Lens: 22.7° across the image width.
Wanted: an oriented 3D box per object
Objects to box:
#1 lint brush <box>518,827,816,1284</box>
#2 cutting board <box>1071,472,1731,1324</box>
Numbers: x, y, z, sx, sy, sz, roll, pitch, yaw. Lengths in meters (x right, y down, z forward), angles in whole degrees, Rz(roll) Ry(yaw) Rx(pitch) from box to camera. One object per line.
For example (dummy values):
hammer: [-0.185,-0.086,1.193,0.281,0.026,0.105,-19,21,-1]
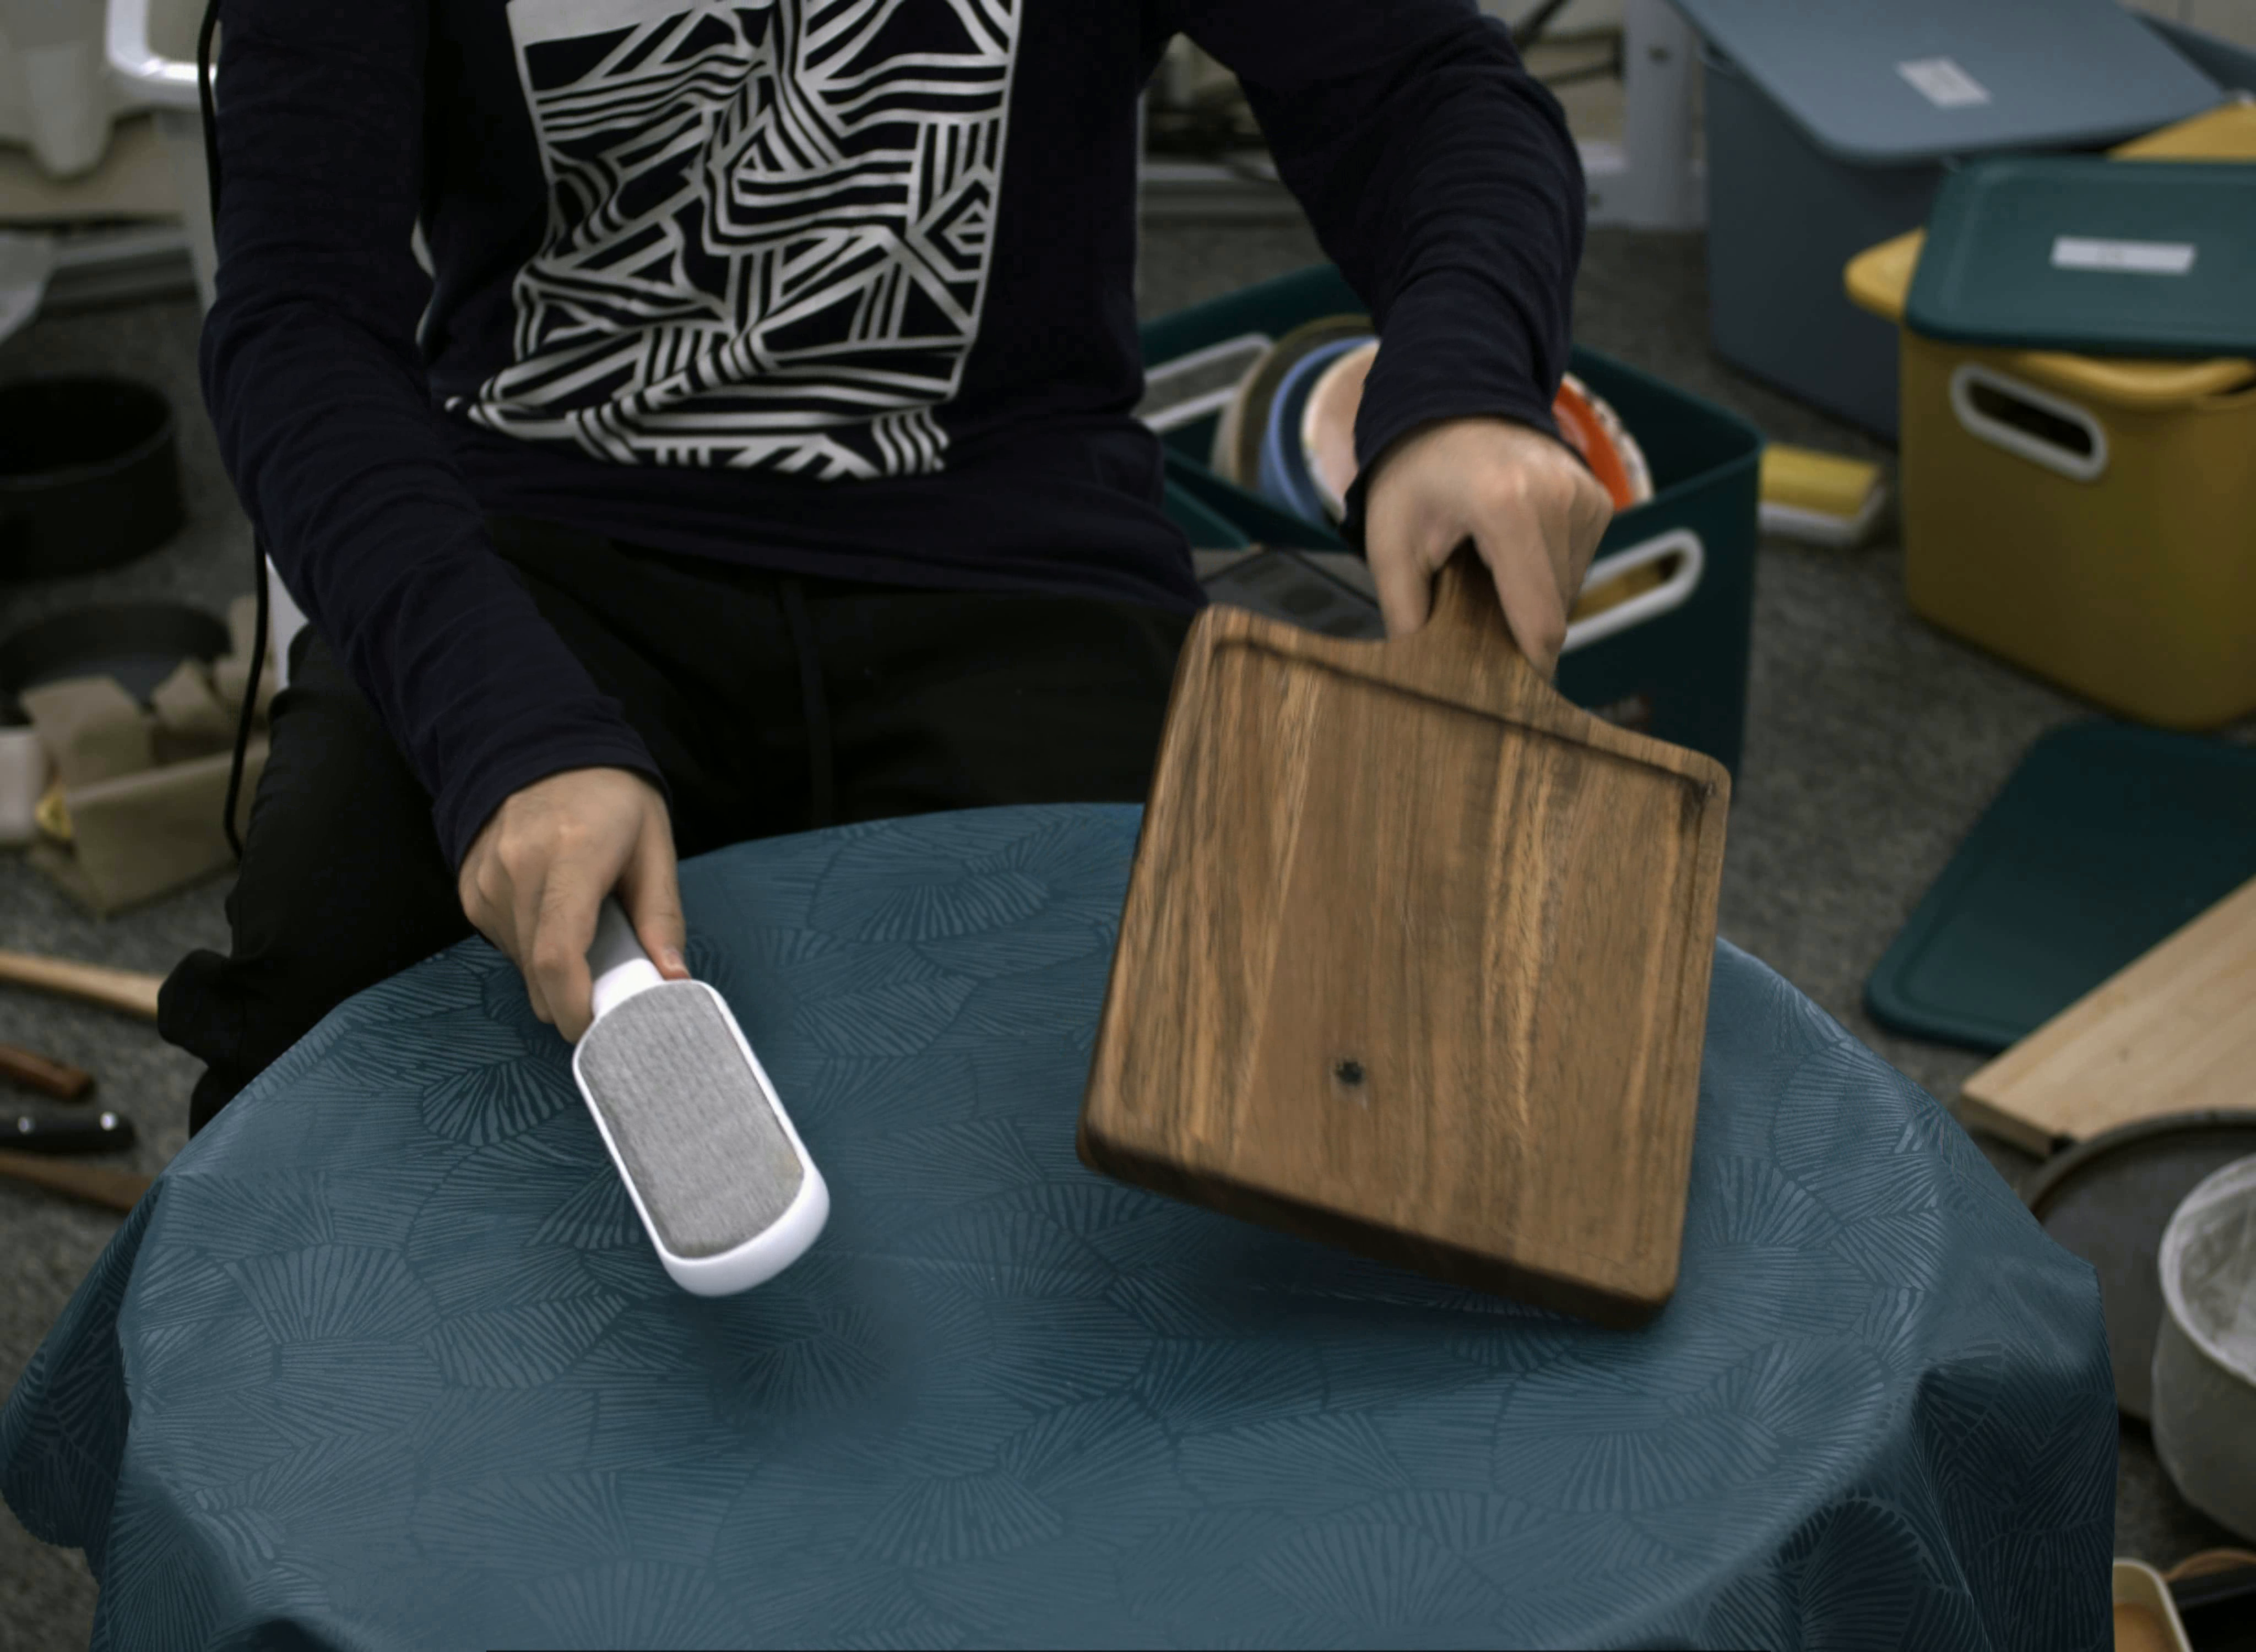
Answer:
lint brush: [-0.159,0.069,1.859,0.060,0.021,0.311,-34,29,-2]
cutting board: [0.103,0.004,1.886,0.200,0.023,0.359,18,44,-5]
